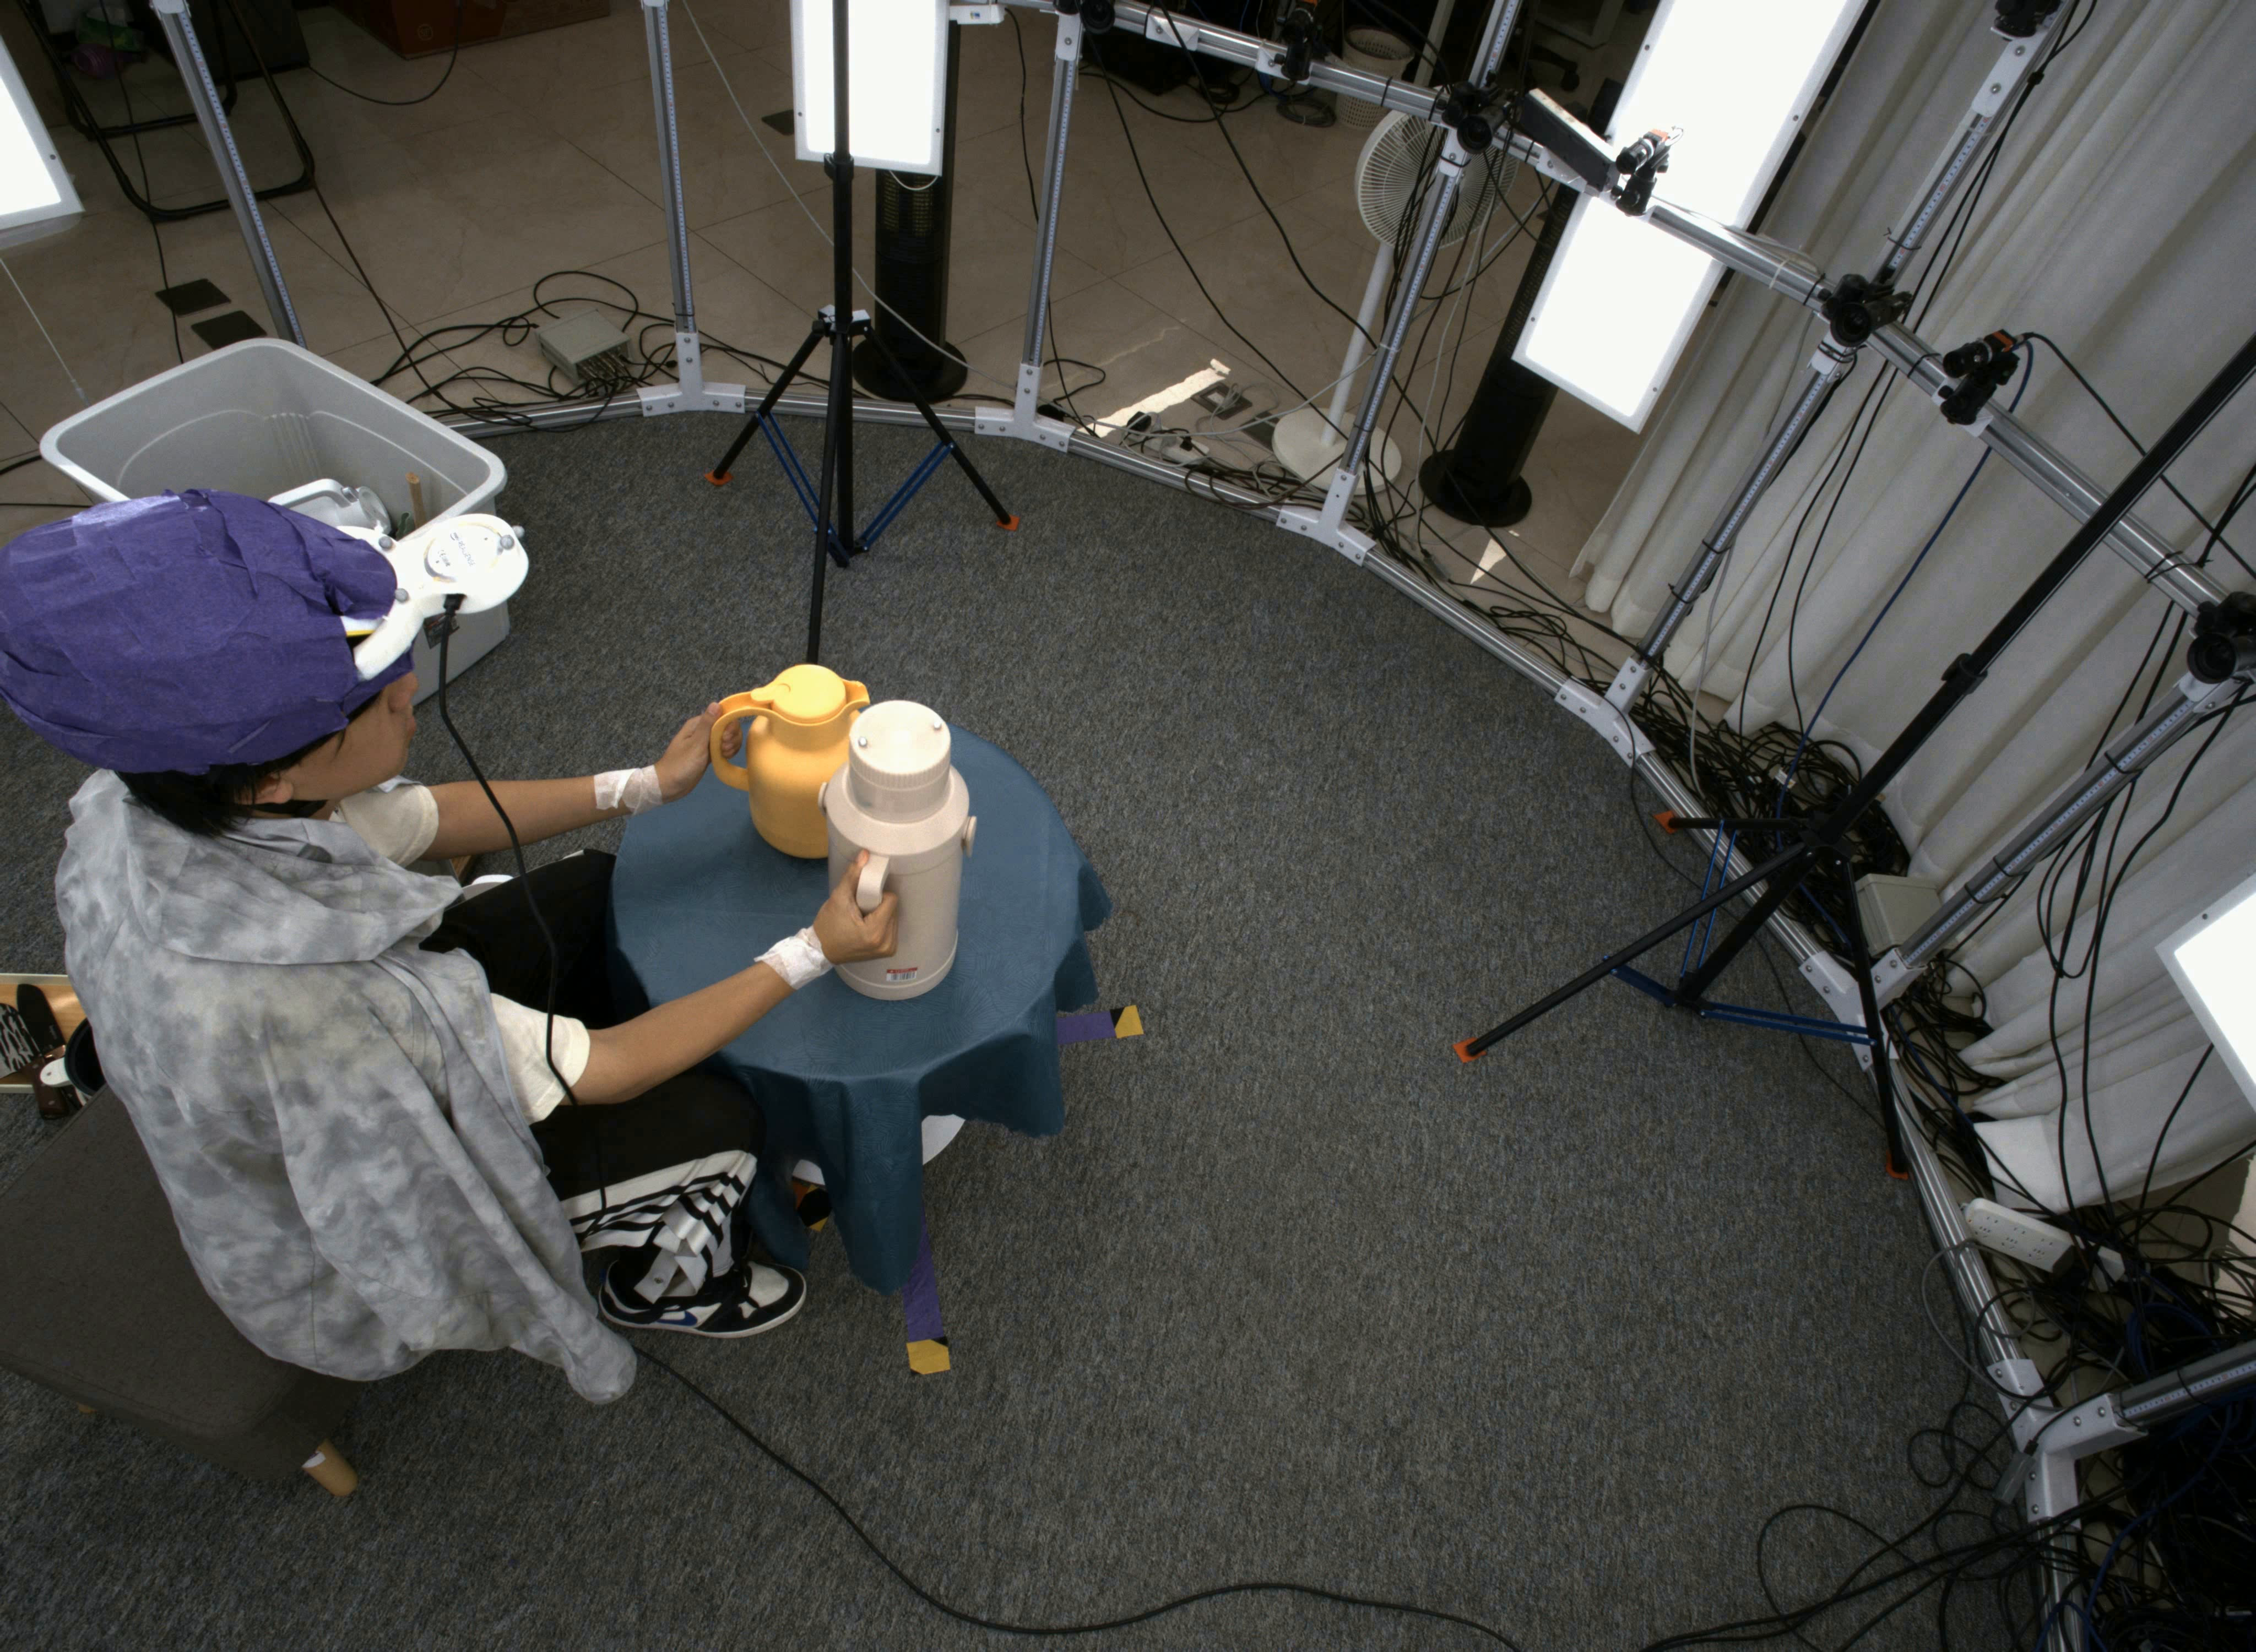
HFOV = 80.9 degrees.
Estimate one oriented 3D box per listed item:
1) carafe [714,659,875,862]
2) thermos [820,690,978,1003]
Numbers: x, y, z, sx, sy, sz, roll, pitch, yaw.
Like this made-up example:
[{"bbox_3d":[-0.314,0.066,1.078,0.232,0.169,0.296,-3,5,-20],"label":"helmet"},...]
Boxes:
[{"bbox_3d":[-0.413,-0.087,1.625,0.203,0.266,0.159,-4,51,-16],"label":"carafe"},{"bbox_3d":[-0.266,0.037,1.480,0.174,0.415,0.204,13,50,-2],"label":"thermos"}]
